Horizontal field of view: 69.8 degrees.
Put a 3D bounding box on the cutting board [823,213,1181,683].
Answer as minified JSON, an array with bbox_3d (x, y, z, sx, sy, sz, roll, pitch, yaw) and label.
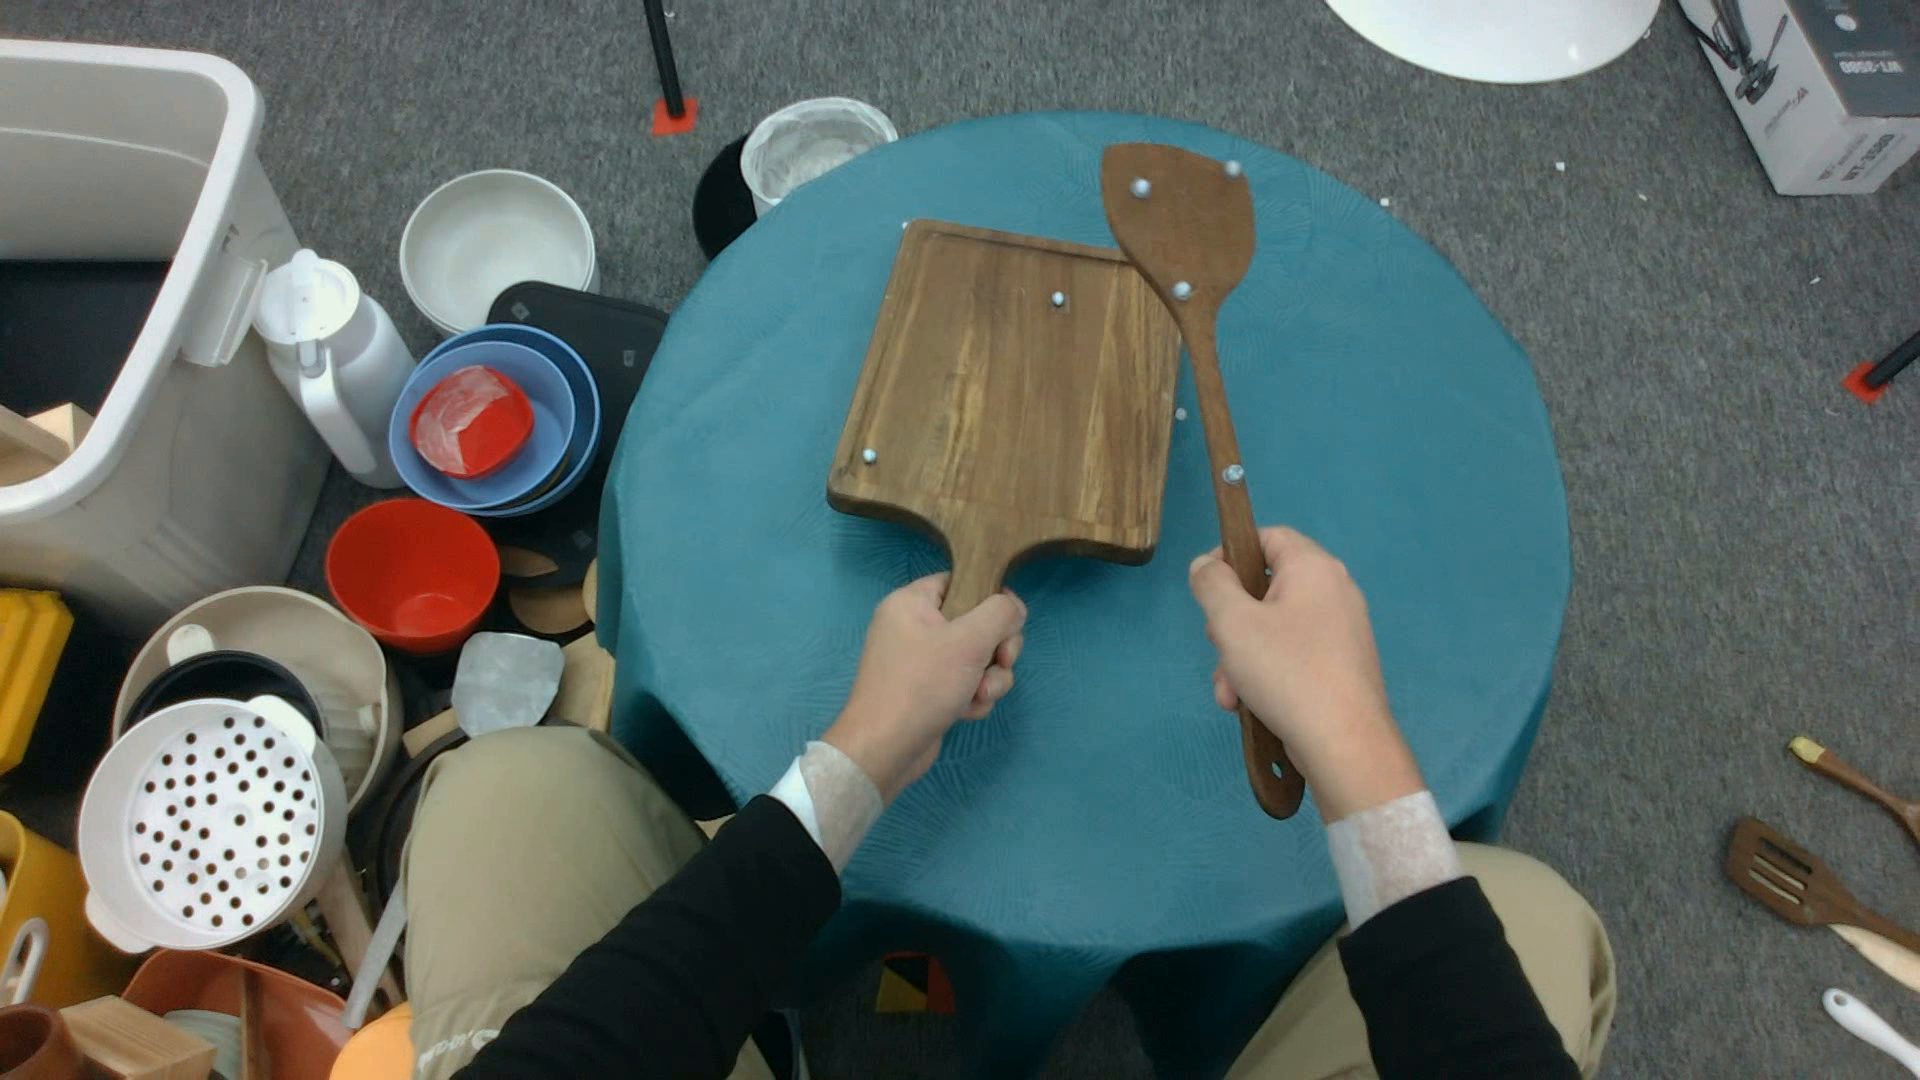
[{"bbox_3d":[0.027,-0.068,0.836,0.201,0.023,0.354,10,53,3],"label":"cutting board"}]

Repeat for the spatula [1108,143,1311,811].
[{"bbox_3d":[0.137,-0.052,0.708,0.096,0.016,0.387,6,62,-20],"label":"spatula"}]
